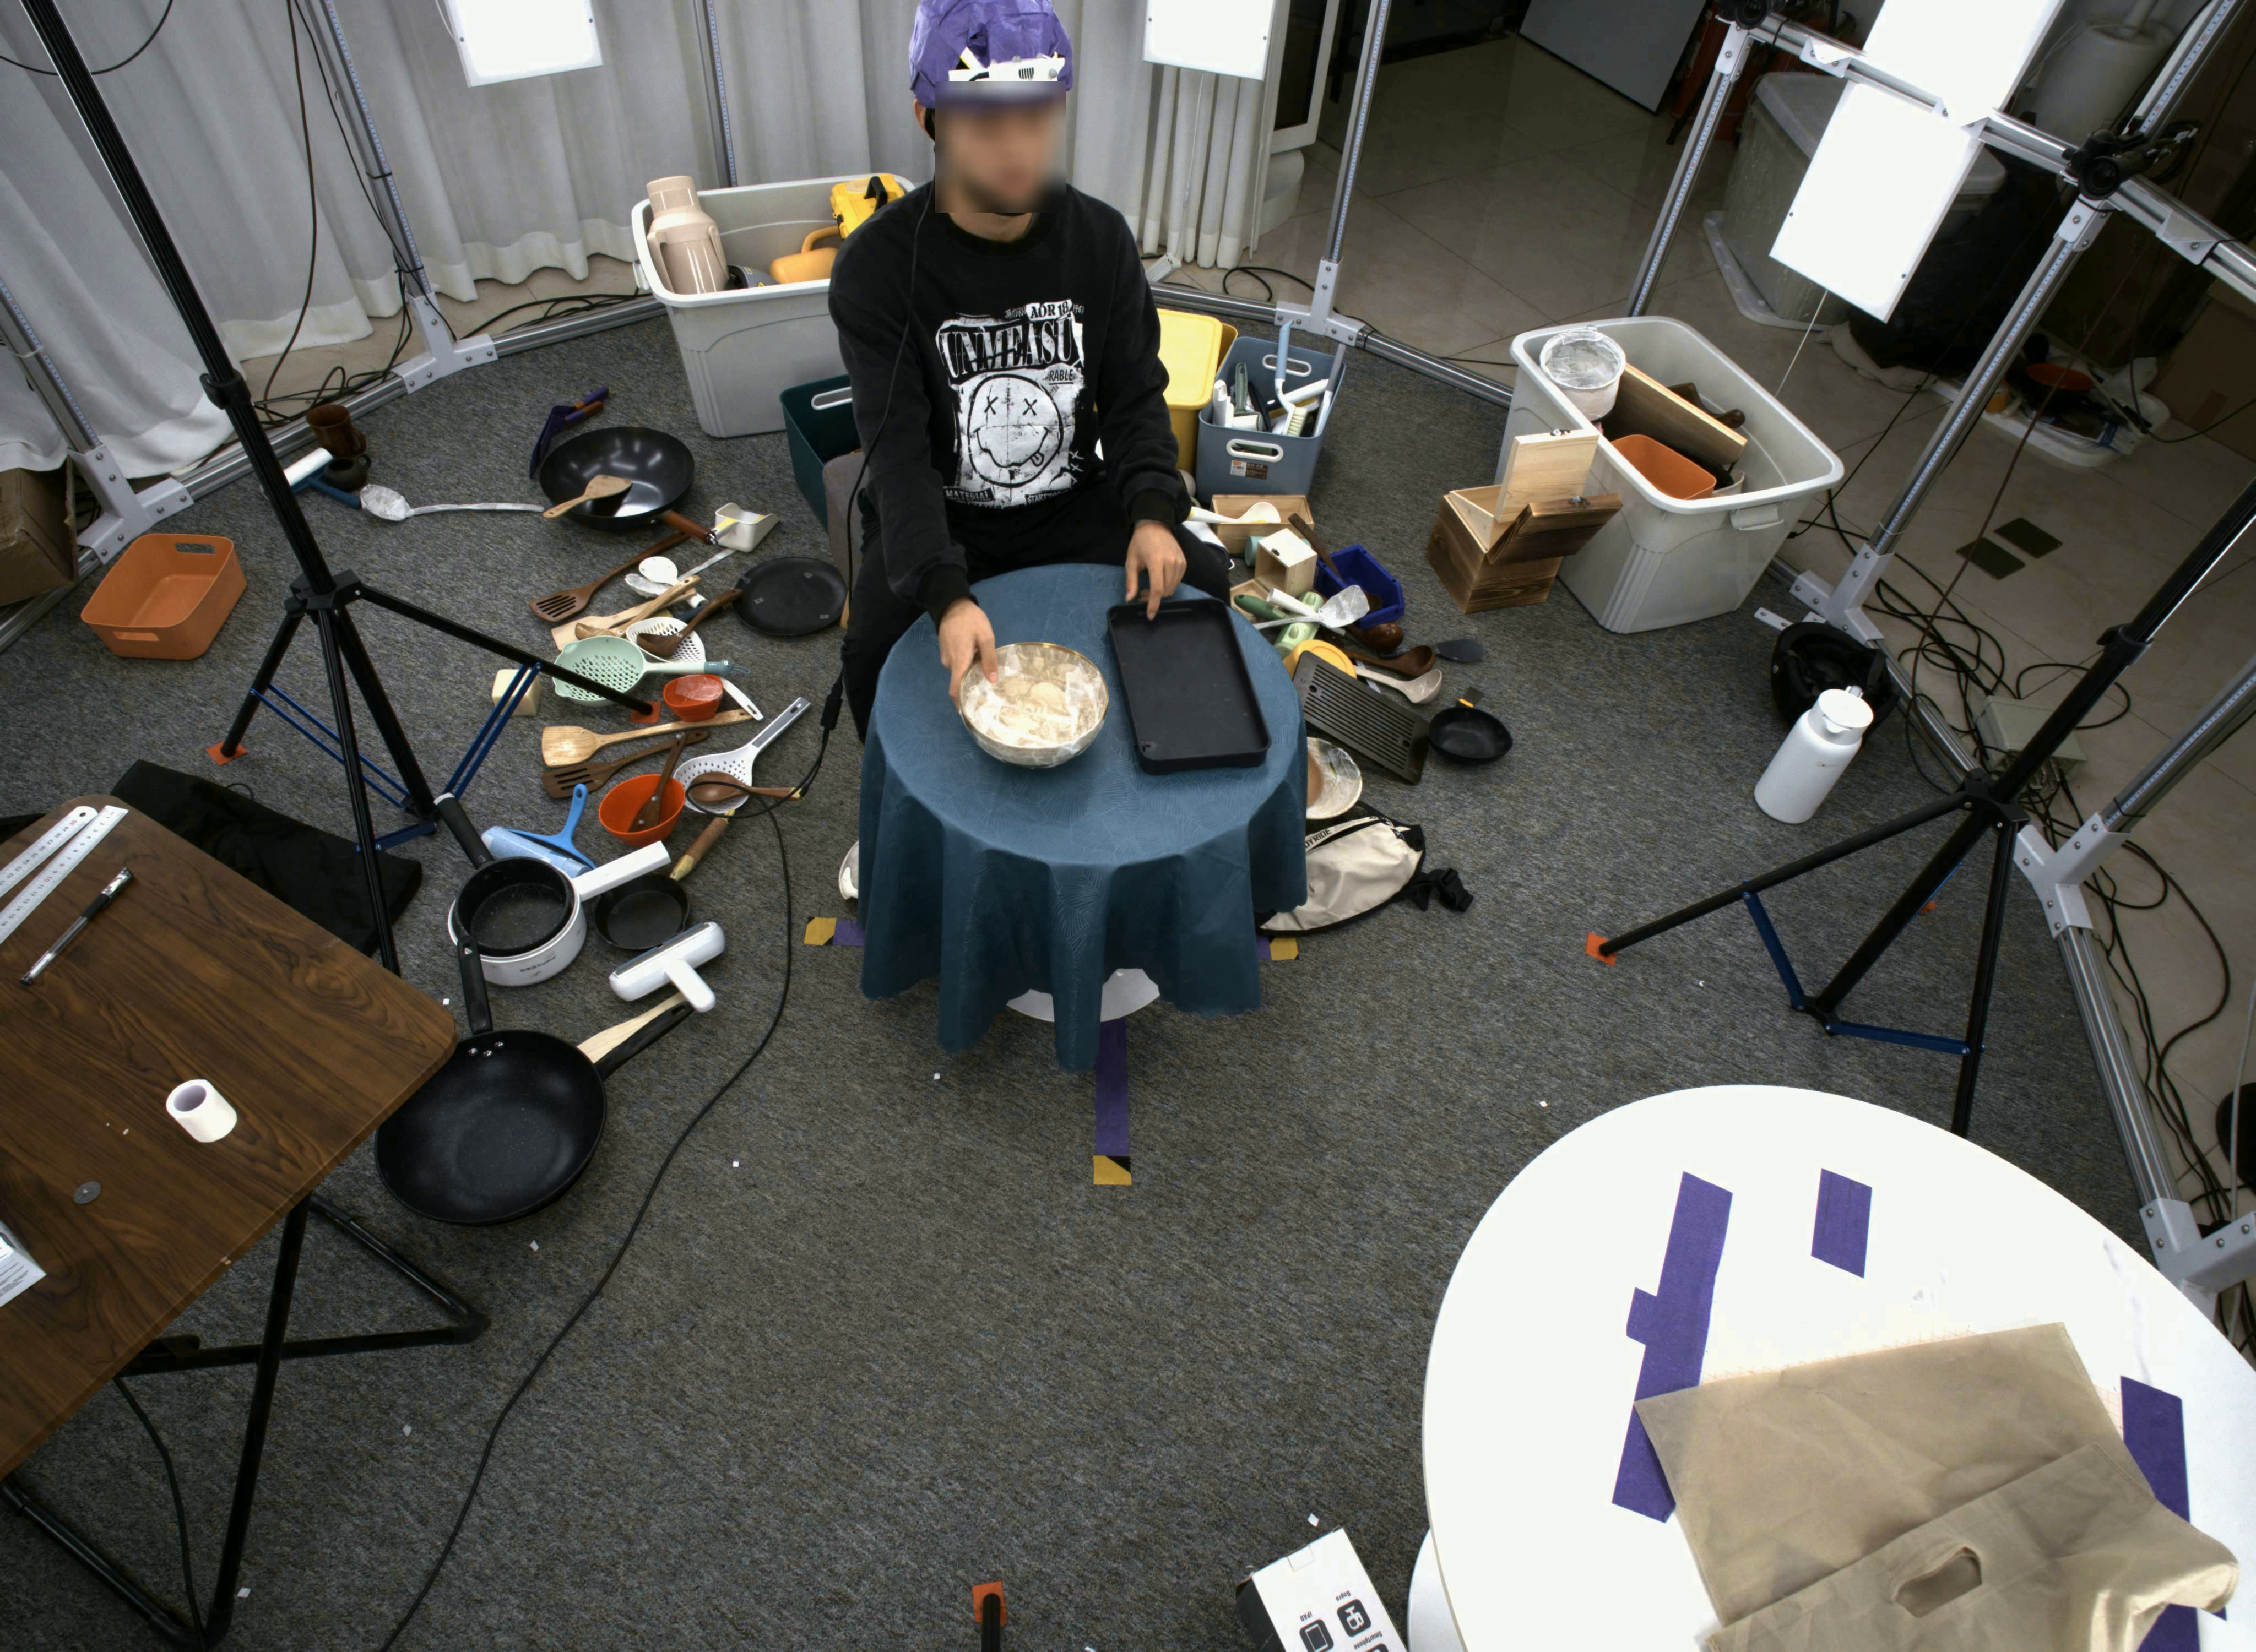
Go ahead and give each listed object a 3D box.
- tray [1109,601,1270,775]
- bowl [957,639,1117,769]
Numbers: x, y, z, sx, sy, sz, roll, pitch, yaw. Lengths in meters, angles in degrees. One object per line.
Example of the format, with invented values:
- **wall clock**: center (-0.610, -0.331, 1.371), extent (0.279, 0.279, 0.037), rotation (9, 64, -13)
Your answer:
- **tray**: center (0.083, -0.204, 1.842), extent (0.184, 0.036, 0.326), rotation (-5, 48, -7)
- **bowl**: center (-0.125, -0.151, 1.747), extent (0.214, 0.092, 0.220), rotation (1, 49, -1)
